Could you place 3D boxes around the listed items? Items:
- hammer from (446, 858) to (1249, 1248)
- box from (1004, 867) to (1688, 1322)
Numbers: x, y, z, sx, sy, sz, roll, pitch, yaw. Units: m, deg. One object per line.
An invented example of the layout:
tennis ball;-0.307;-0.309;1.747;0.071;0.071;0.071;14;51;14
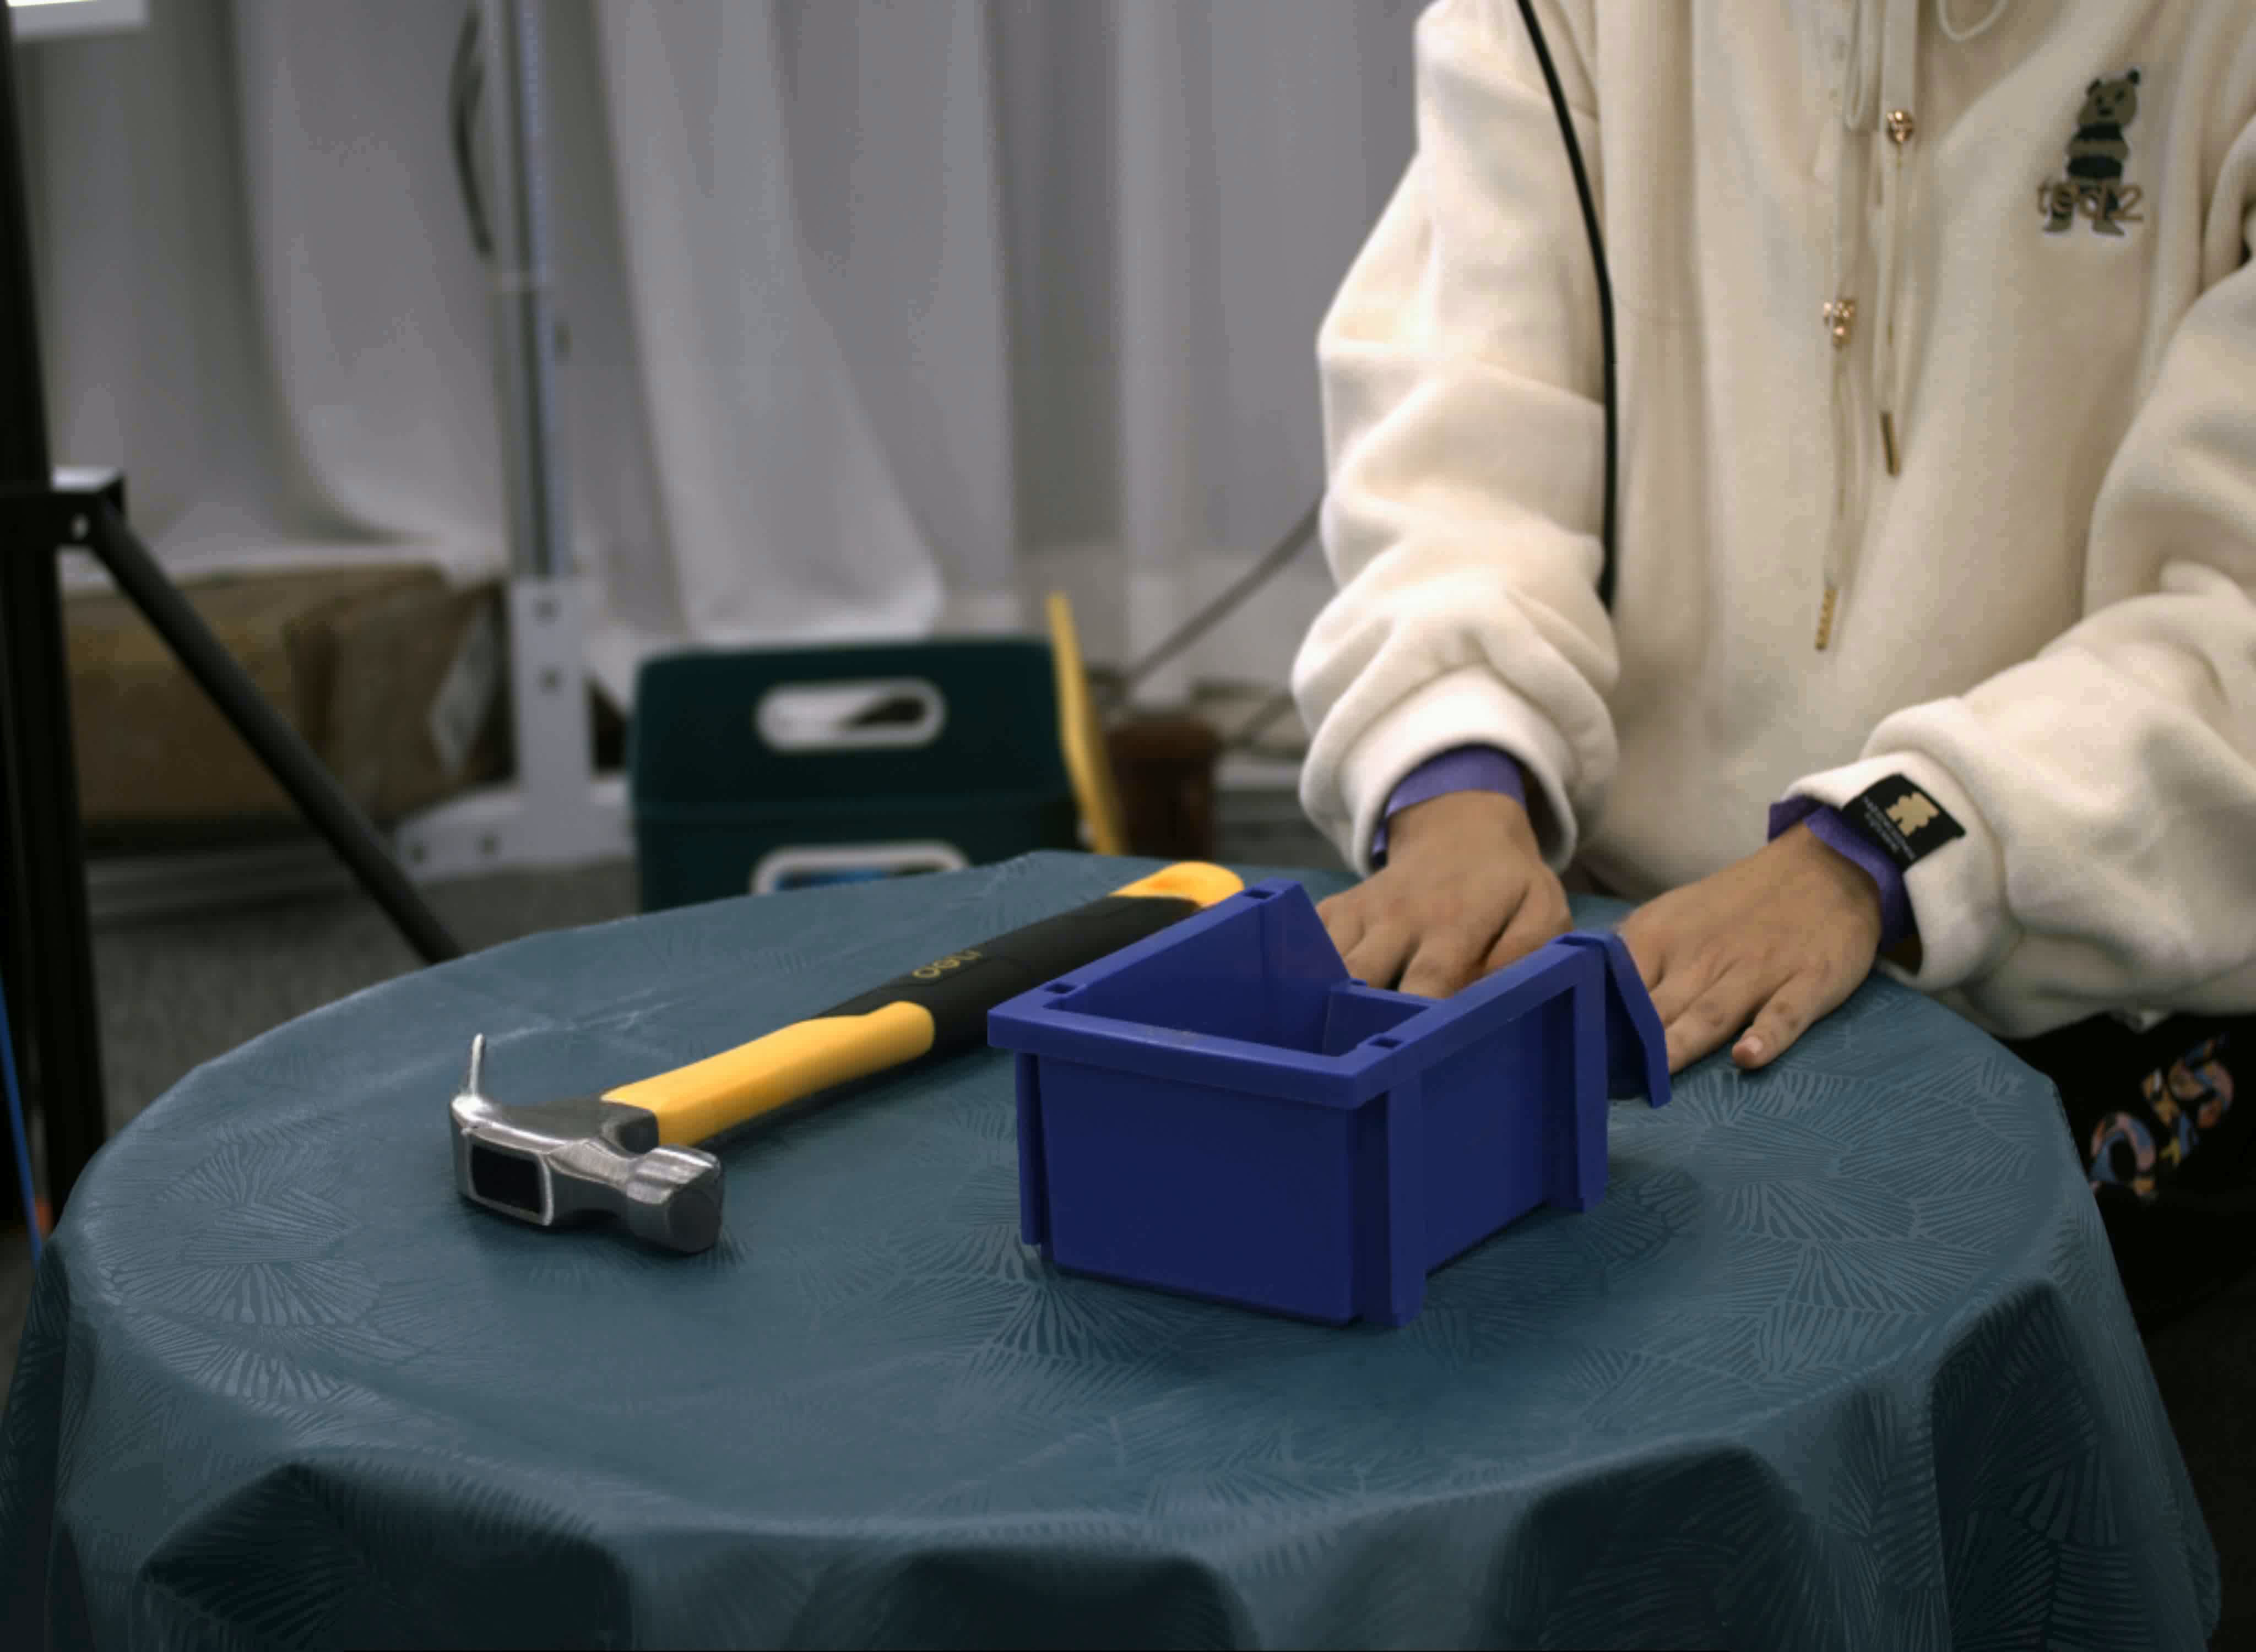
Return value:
hammer;-0.076;0.061;1.672;0.134;0.032;0.331;9;20;40
box;0.064;0.072;1.525;0.127;0.082;0.176;8;21;35
